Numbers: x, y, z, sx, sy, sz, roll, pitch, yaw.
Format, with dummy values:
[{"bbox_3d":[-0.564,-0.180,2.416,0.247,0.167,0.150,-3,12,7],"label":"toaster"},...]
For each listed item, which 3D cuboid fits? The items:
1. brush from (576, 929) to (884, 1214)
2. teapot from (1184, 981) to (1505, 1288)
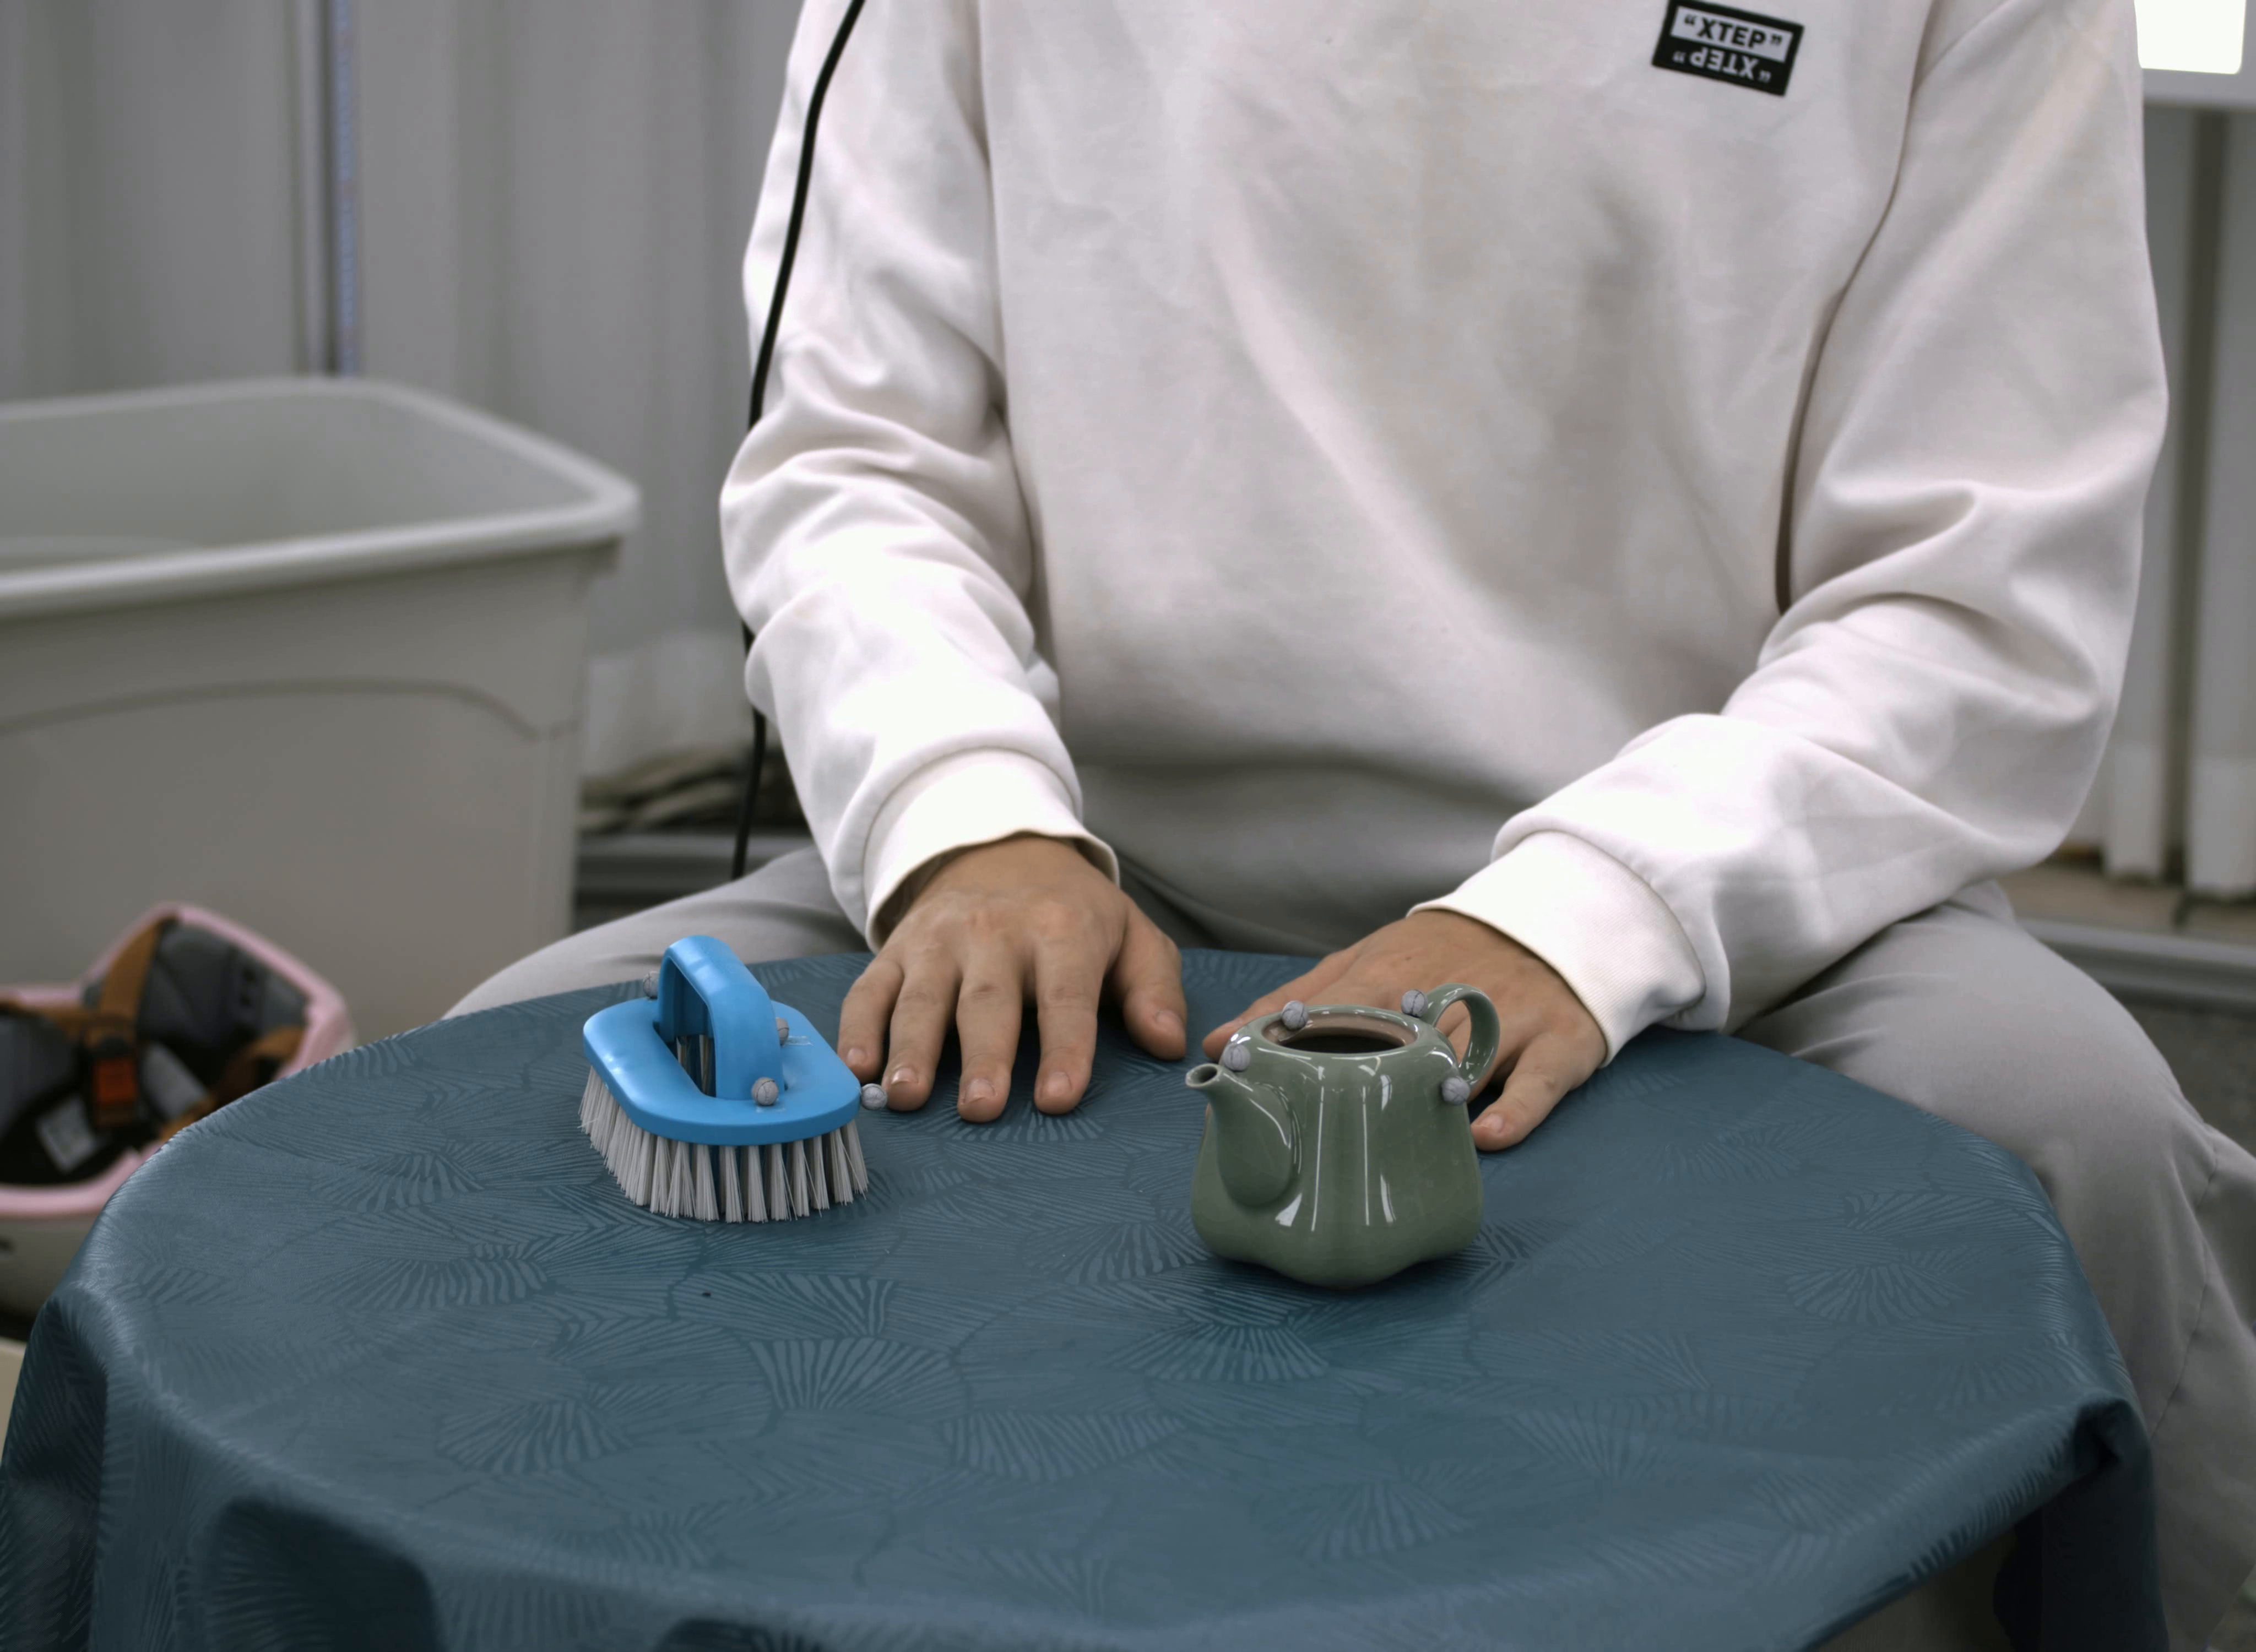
[{"bbox_3d":[-0.128,0.071,1.652,0.084,0.064,0.140,-8,16,-14],"label":"brush"},{"bbox_3d":[0.064,0.092,1.569,0.078,0.076,0.133,16,21,42],"label":"teapot"}]
